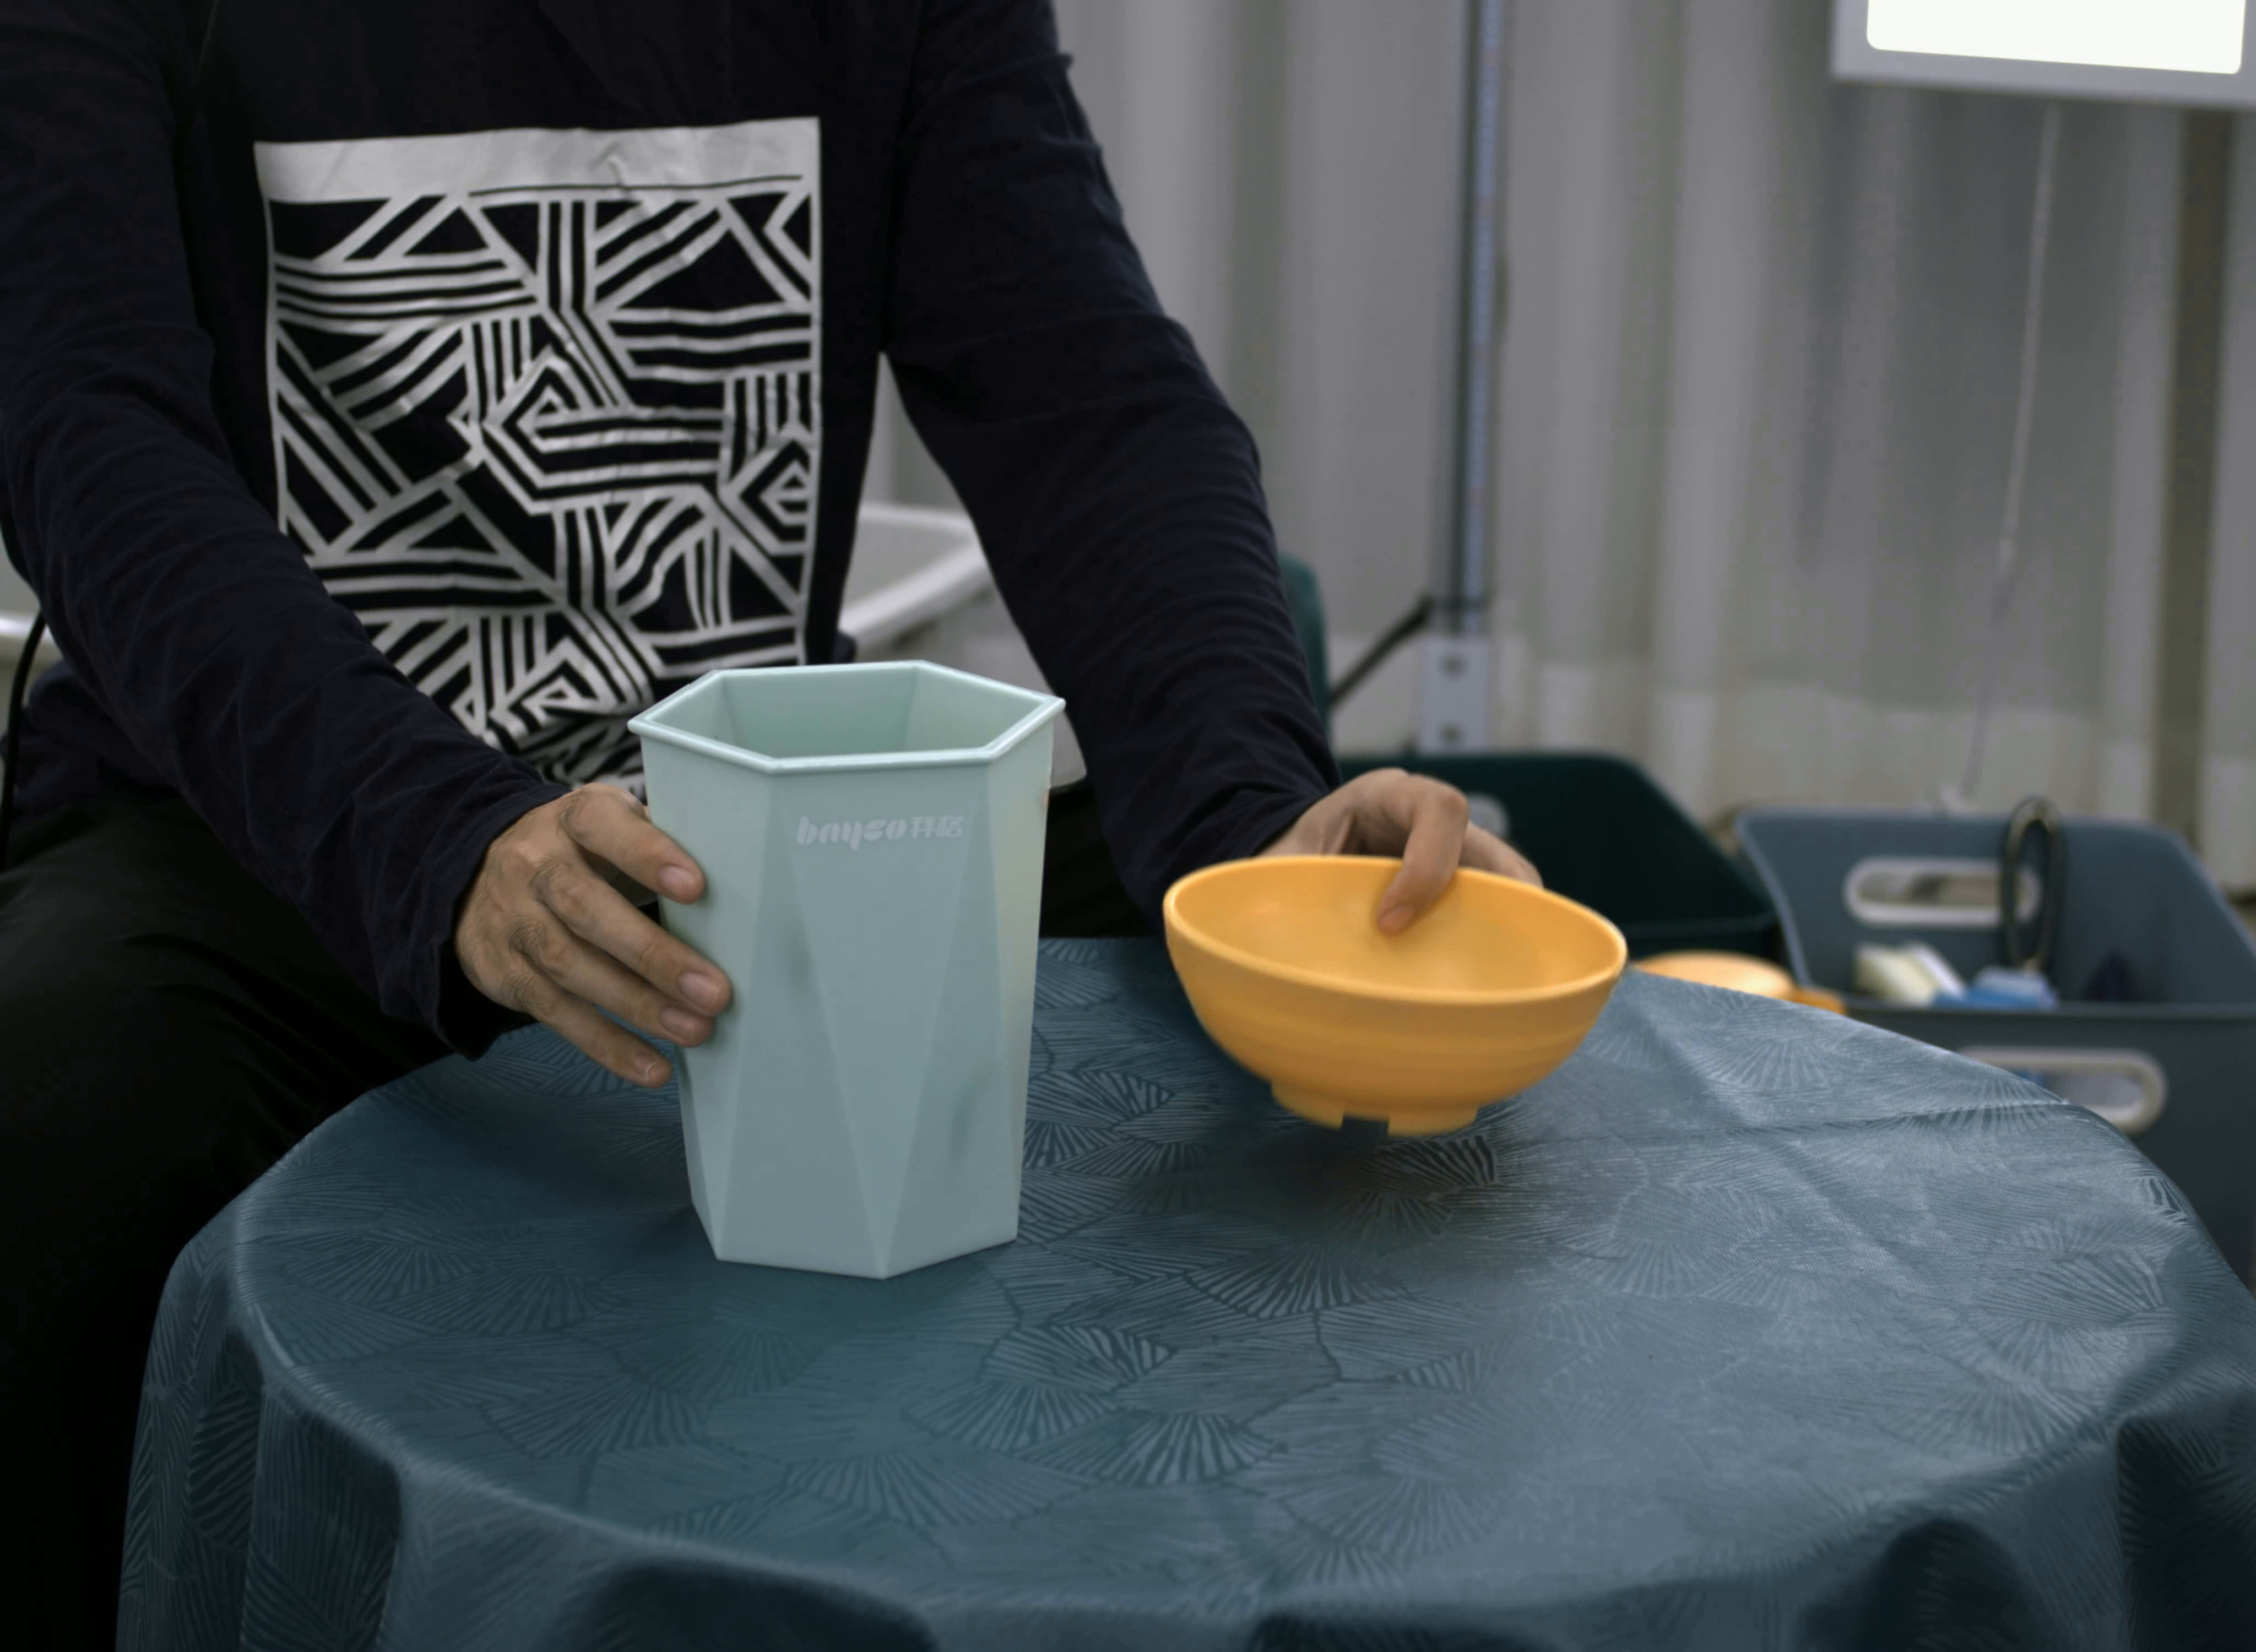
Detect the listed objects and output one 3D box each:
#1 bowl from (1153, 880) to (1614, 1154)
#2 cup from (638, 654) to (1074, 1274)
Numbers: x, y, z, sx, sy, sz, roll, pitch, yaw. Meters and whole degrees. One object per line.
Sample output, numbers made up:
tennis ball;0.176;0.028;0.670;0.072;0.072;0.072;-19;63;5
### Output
bowl;0.077;0.064;1.642;0.145;0.060;0.144;6;14;-1
cup;-0.081;0.041;1.572;0.131;0.164;0.114;-3;15;-14
